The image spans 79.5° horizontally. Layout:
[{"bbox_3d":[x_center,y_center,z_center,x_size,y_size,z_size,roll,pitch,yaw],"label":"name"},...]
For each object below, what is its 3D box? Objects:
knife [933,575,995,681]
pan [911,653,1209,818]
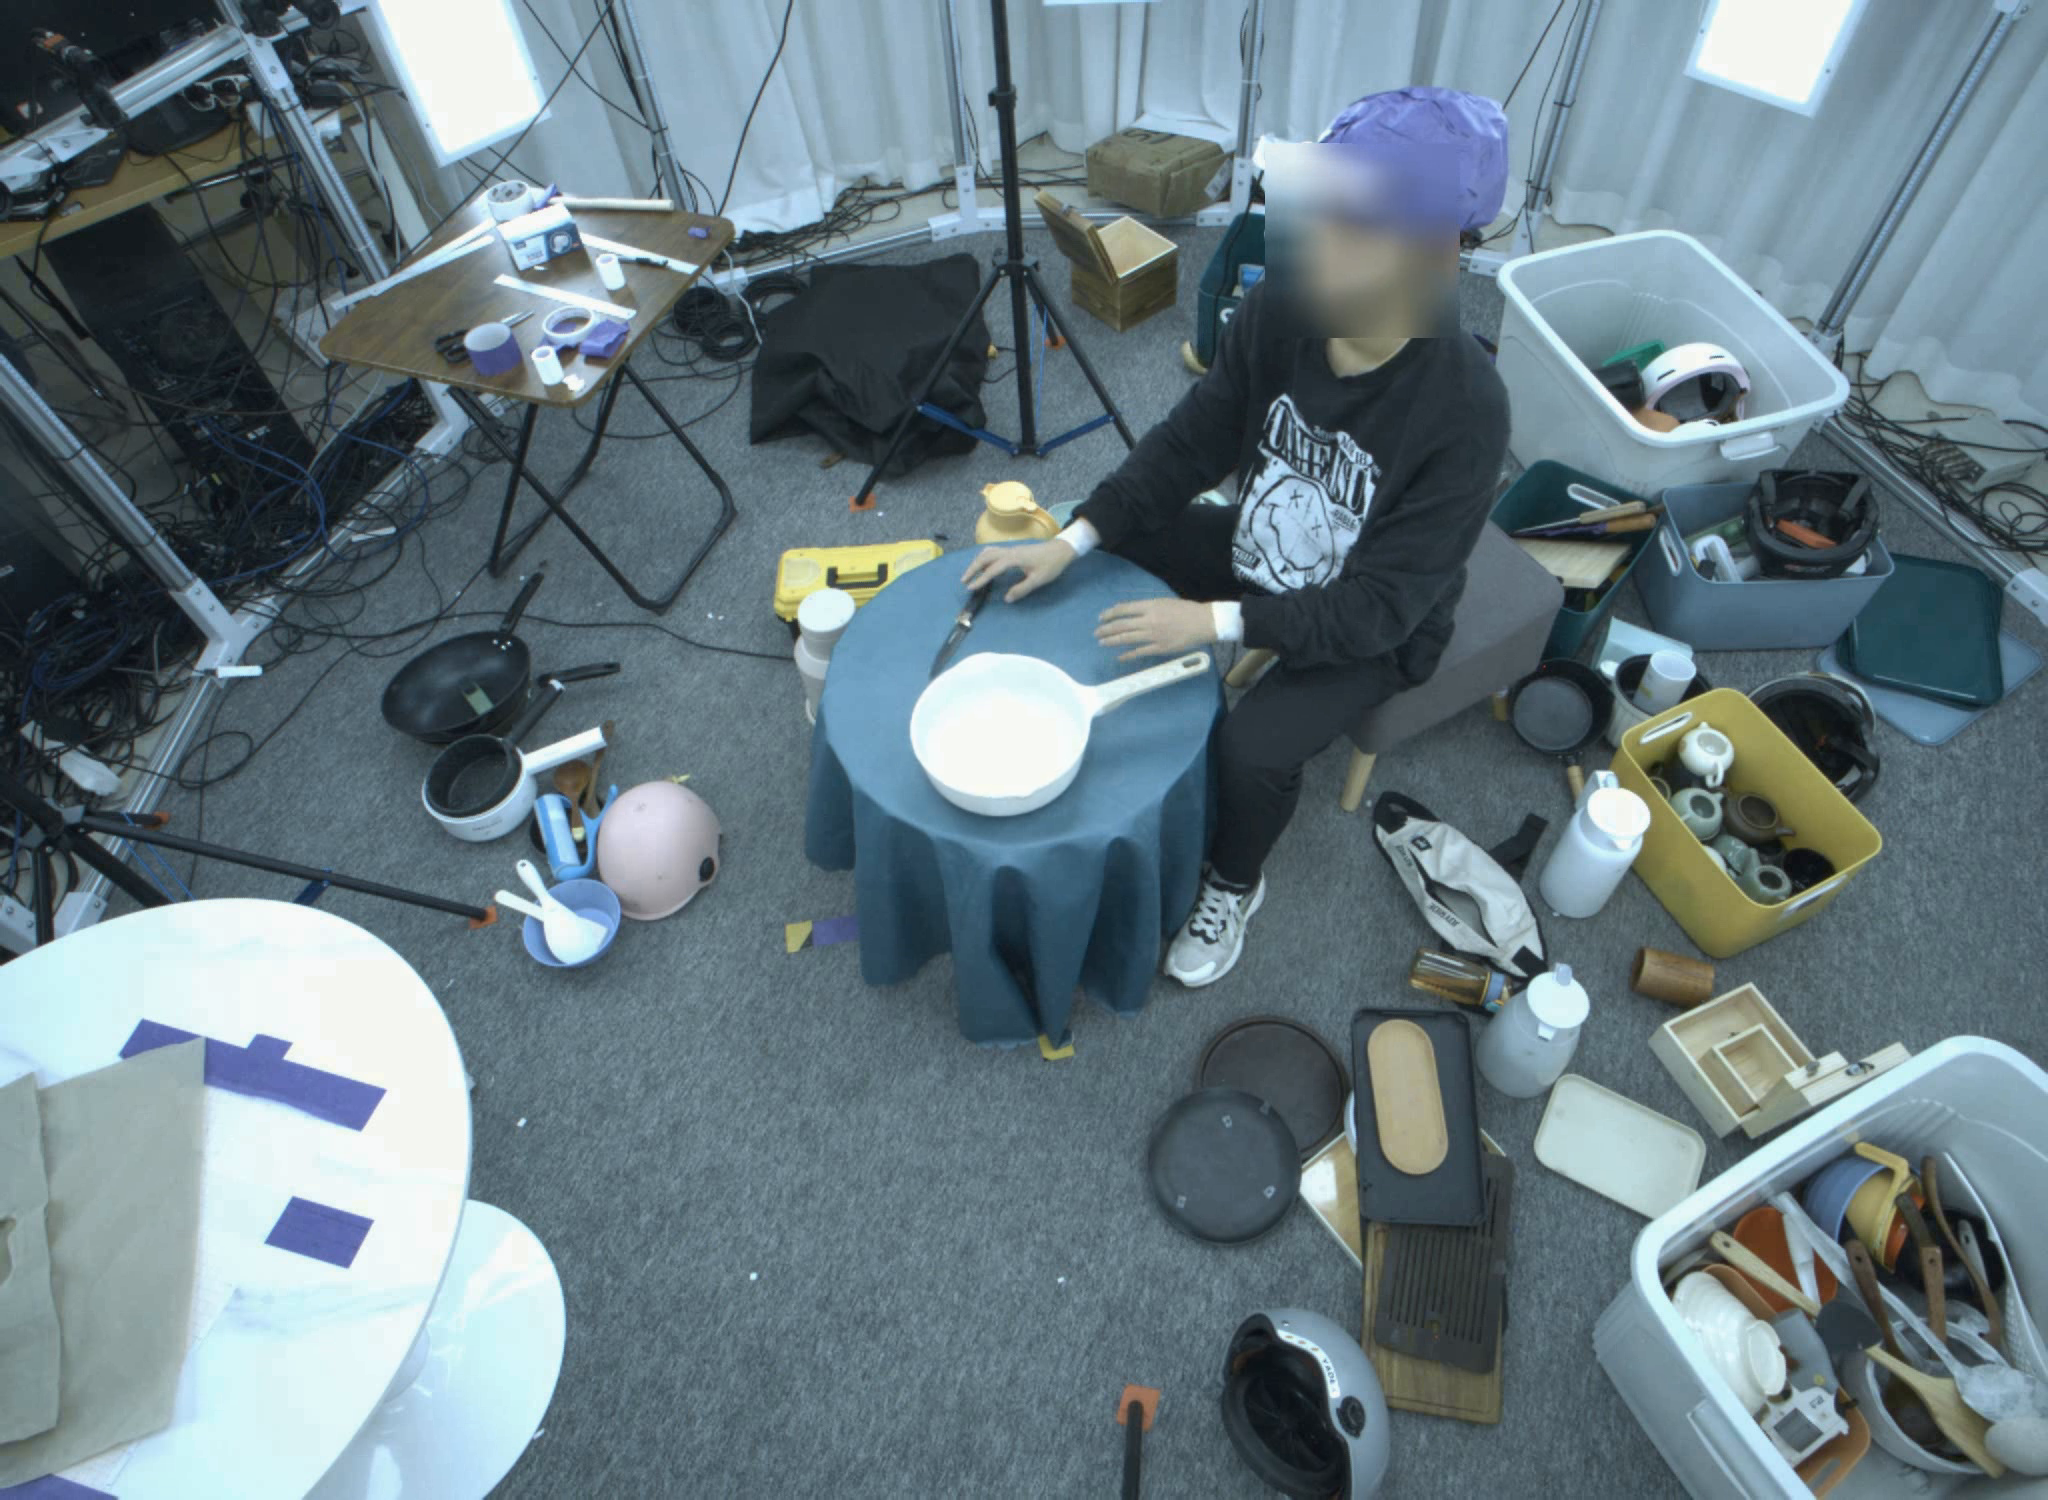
[{"bbox_3d":[-0.098,-0.193,1.919,0.026,0.017,0.225,27,59,1],"label":"knife"},{"bbox_3d":[0.058,-0.041,1.750,0.437,0.103,0.259,-16,54,-9],"label":"pan"}]
